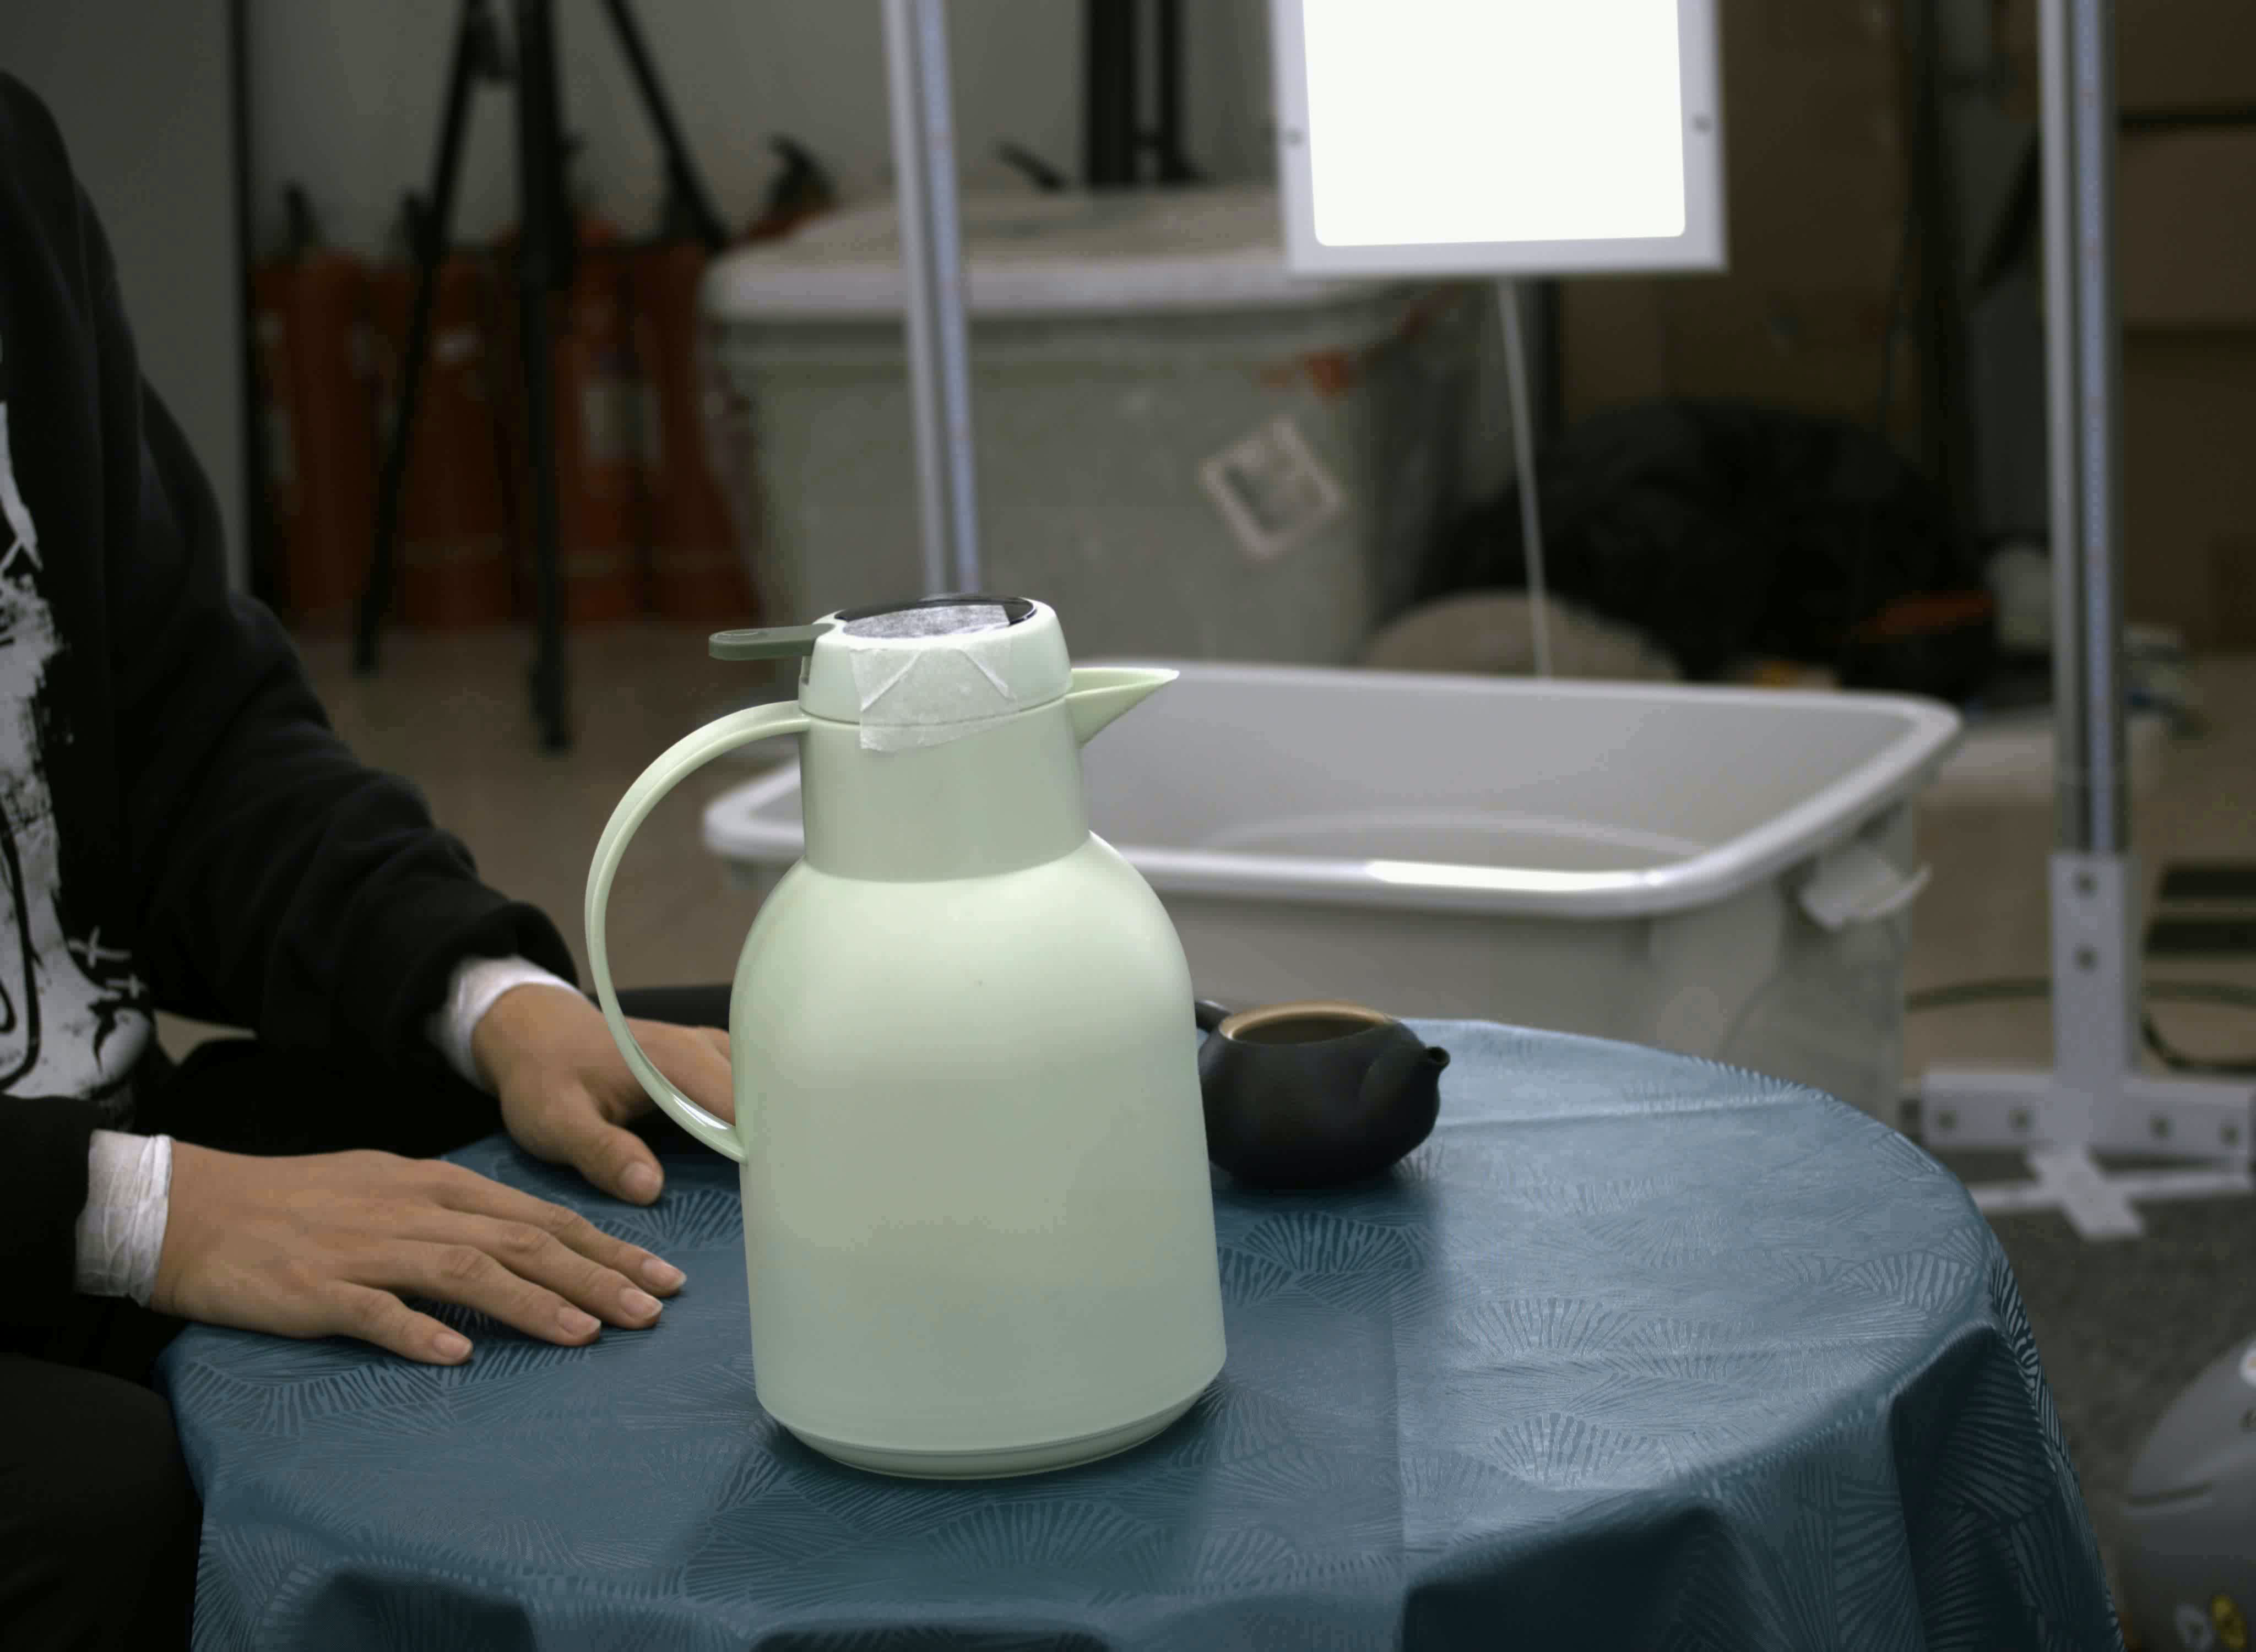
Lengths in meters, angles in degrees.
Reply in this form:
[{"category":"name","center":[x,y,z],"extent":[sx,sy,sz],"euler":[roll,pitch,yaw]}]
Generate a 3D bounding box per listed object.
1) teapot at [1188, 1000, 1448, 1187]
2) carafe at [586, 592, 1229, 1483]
[{"category":"teapot","center":[0.062,0.092,1.903],"extent":[0.088,0.053,0.136],"euler":[-15,17,-42]},{"category":"carafe","center":[-0.064,0.061,1.664],"extent":[0.185,0.257,0.145],"euler":[-10,15,-6]}]
